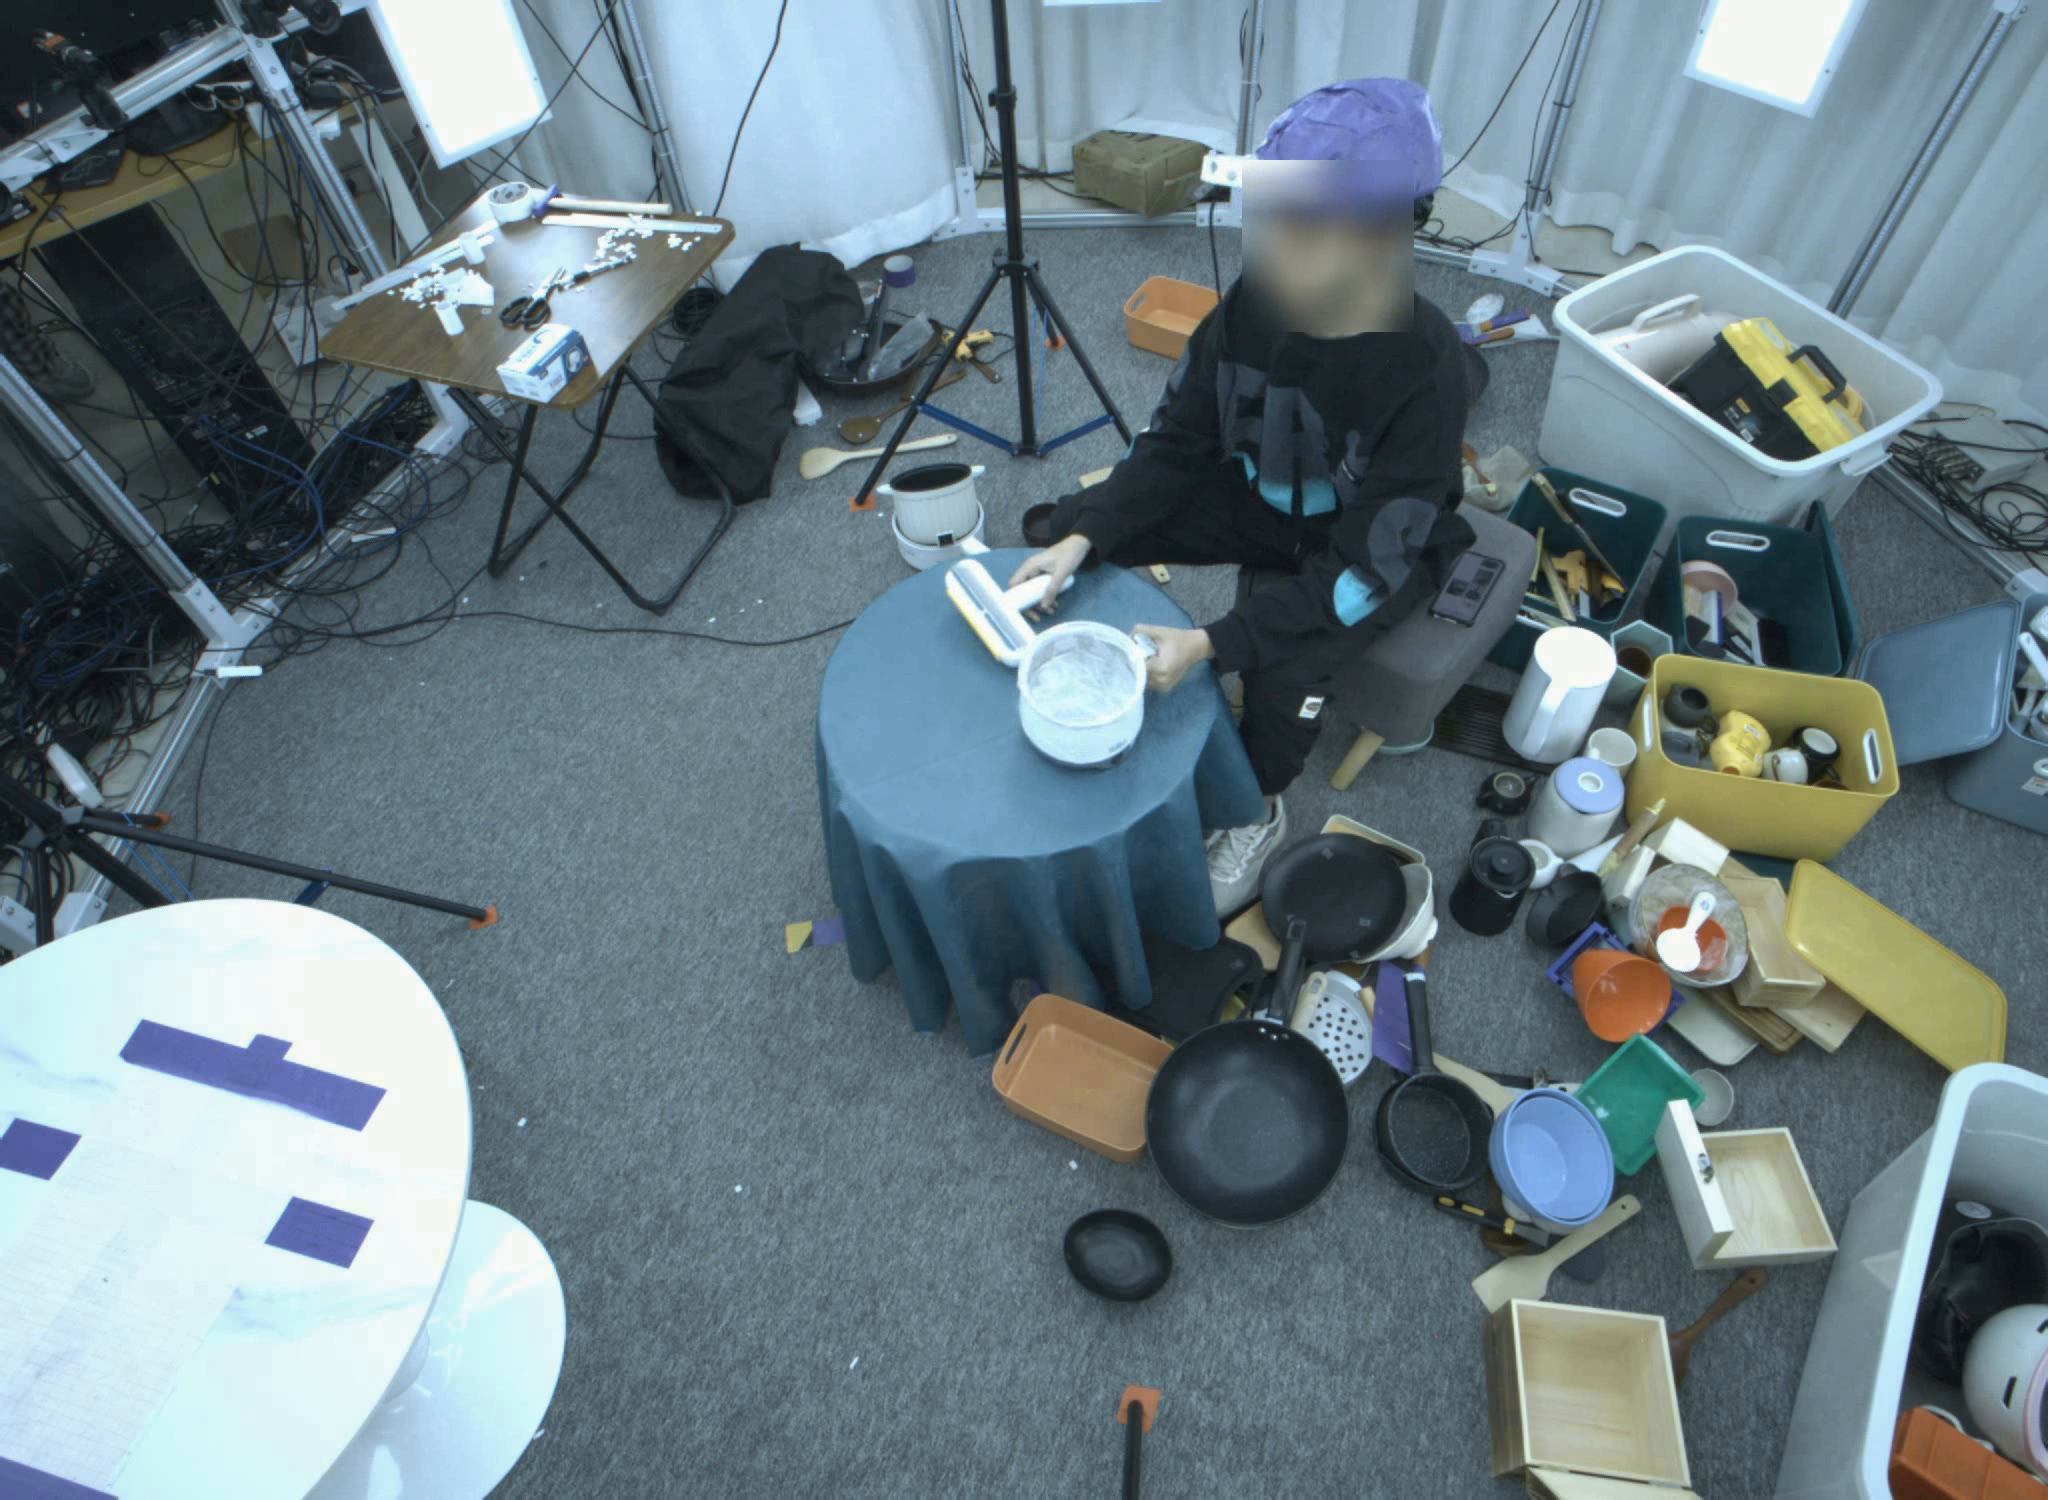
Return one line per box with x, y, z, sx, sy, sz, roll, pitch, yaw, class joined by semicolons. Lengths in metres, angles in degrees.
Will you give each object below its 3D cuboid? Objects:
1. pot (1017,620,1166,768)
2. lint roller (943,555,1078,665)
0.104;-0.089;1.750;0.235;0.138;0.176;-33;66;-17;pot
-0.003;-0.239;1.898;0.193;0.075;0.190;-30;68;-12;lint roller
